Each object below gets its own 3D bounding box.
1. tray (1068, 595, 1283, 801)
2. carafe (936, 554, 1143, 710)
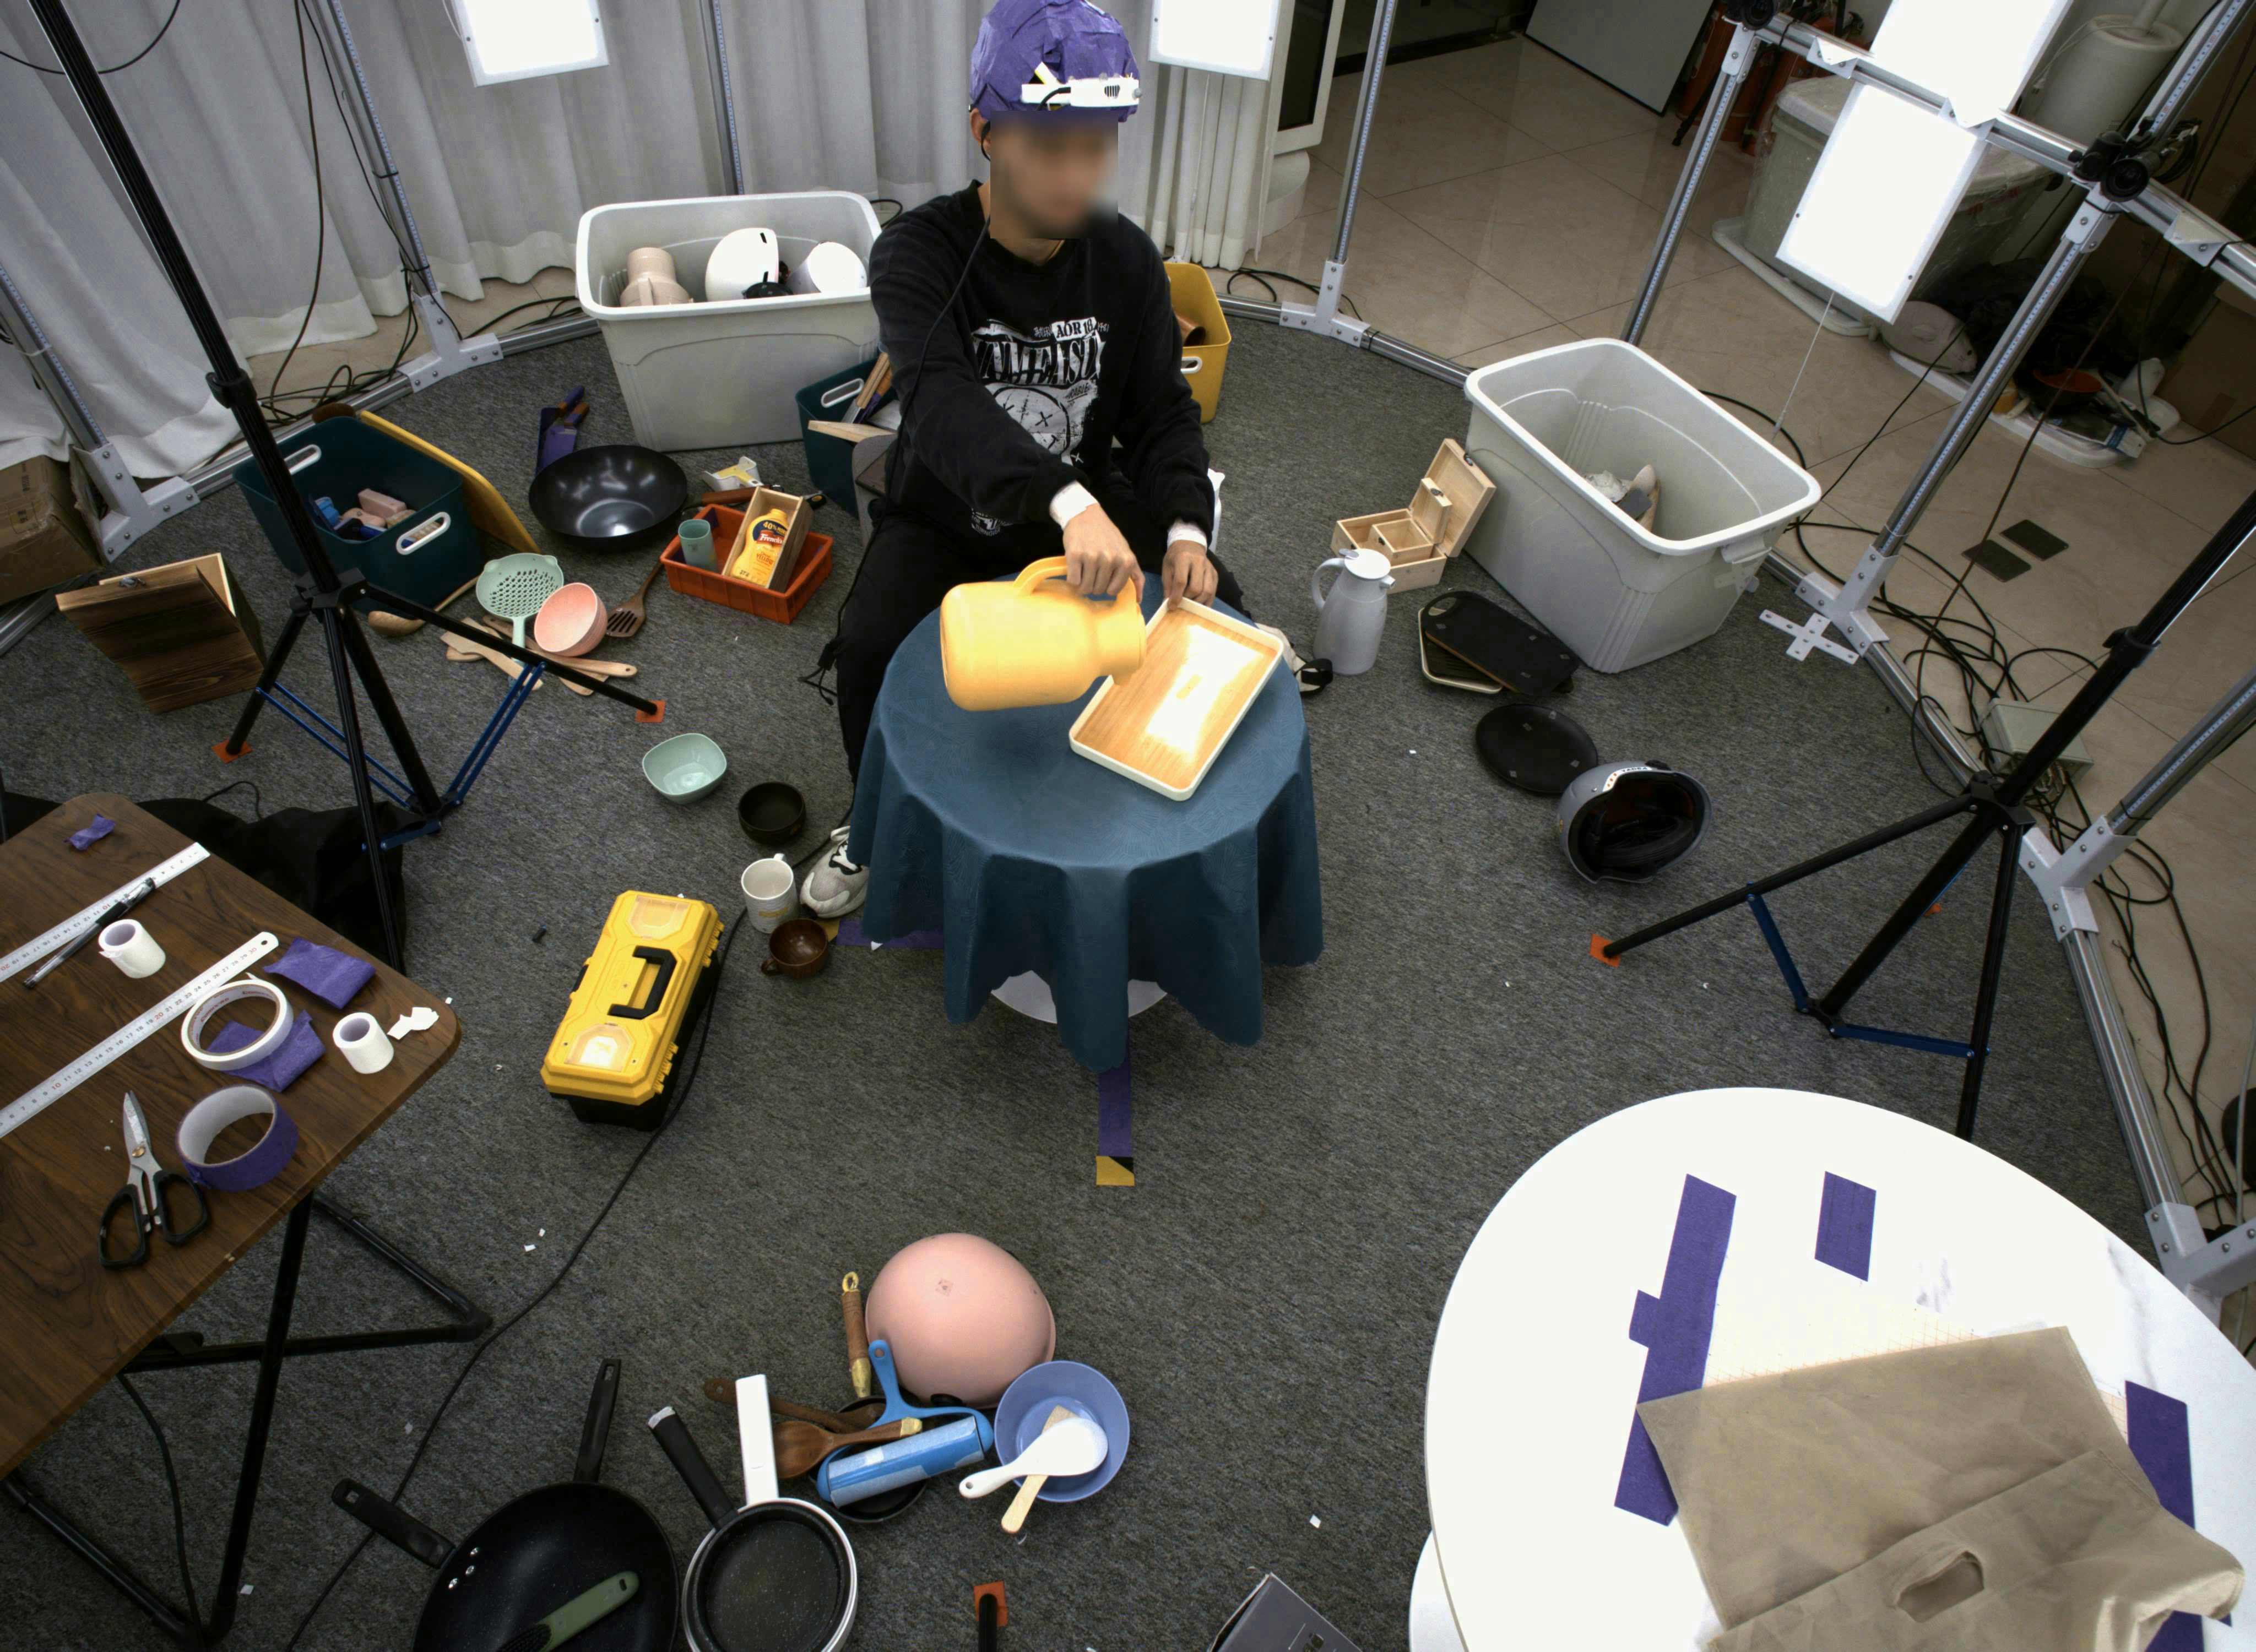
[{"bbox_3d":[0.069,-0.184,1.785,0.193,0.027,0.304,26,61,17],"label":"tray"},{"bbox_3d":[-0.112,-0.252,1.639,0.260,0.198,0.167,-5,39,-11],"label":"carafe"}]
